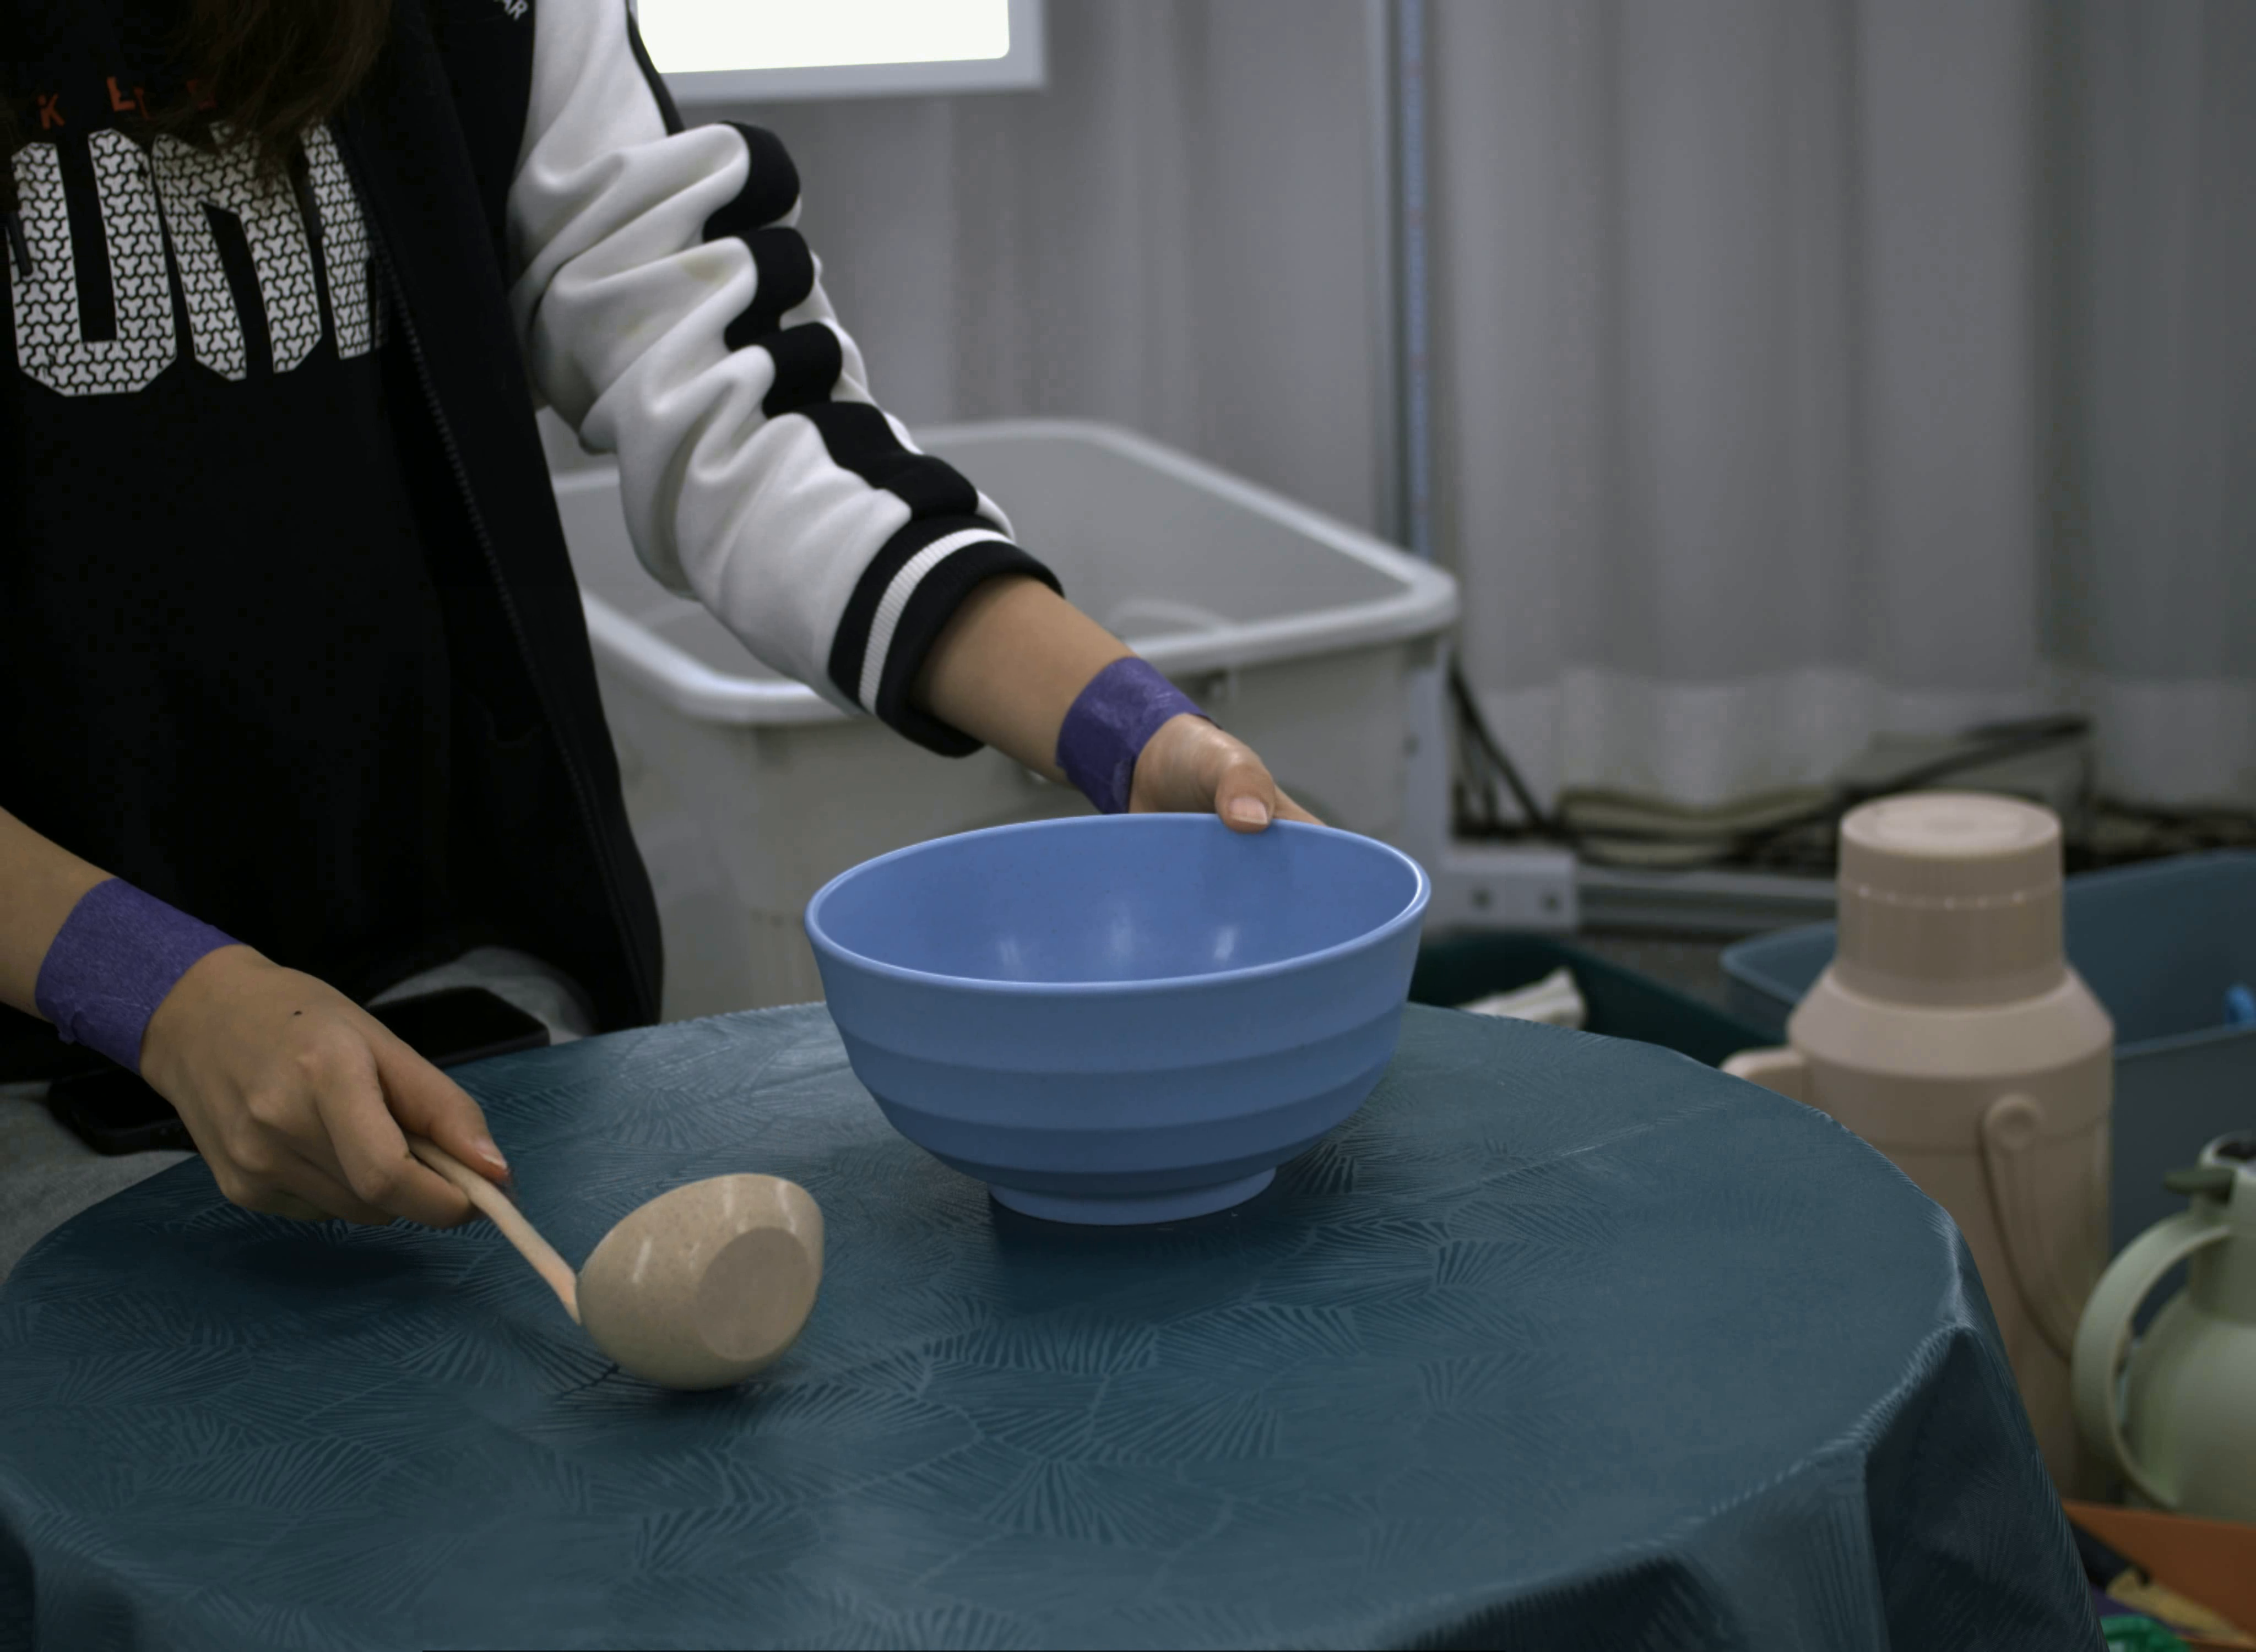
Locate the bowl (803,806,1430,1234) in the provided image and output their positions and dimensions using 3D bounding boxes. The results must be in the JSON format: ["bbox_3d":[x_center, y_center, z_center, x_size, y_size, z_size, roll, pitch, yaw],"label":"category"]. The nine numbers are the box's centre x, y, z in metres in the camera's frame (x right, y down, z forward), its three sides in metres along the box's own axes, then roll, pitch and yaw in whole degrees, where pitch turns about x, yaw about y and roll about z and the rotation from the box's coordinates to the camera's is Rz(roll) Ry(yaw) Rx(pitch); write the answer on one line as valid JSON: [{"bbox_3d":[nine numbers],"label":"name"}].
[{"bbox_3d":[-0.001,0.068,1.716,0.196,0.095,0.198,-4,17,1],"label":"bowl"}]

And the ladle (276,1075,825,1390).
[{"bbox_3d":[-0.177,0.092,1.630,0.071,0.073,0.257,19,7,-41],"label":"ladle"}]
